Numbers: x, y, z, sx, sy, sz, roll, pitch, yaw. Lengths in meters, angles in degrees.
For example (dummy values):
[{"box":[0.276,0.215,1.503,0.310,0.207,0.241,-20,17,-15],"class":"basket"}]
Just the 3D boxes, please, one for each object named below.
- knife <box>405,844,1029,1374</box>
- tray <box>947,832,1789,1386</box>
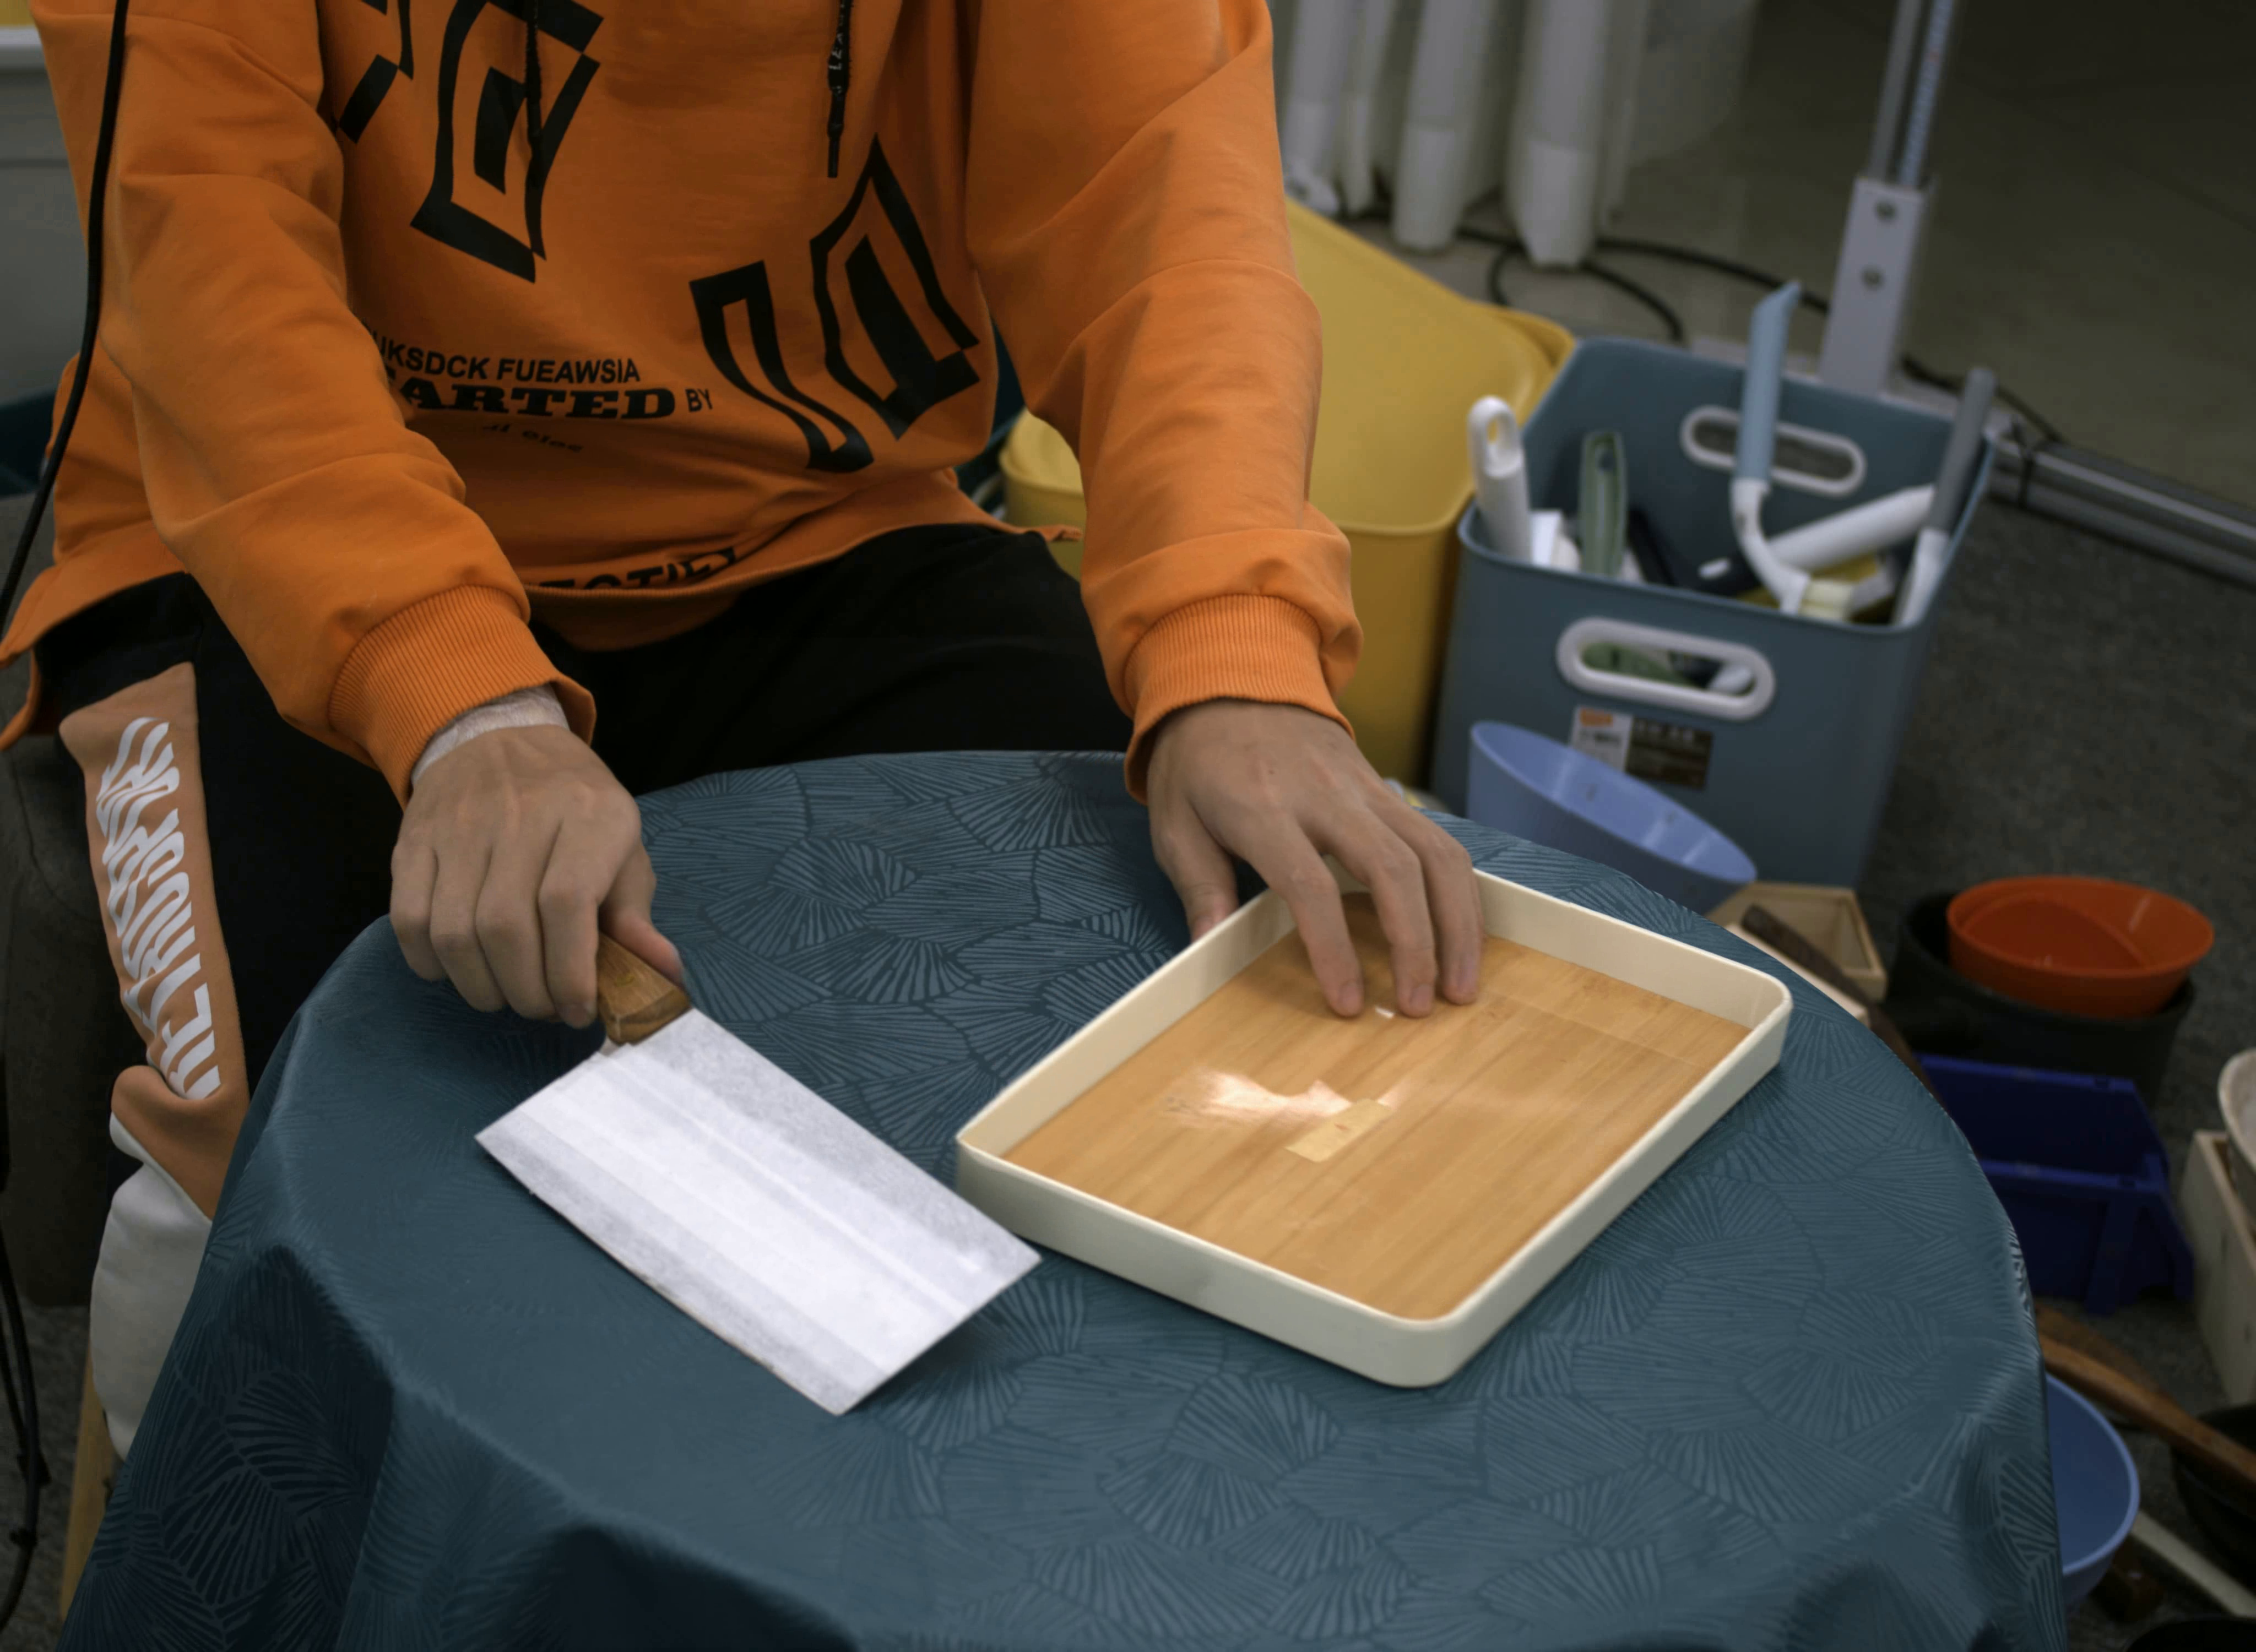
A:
[{"box":[-0.161,0.095,1.776,0.093,0.021,0.308,-36,47,-25],"class":"knife"},{"box":[0.088,0.092,1.854,0.192,0.027,0.300,20,30,25],"class":"tray"}]
